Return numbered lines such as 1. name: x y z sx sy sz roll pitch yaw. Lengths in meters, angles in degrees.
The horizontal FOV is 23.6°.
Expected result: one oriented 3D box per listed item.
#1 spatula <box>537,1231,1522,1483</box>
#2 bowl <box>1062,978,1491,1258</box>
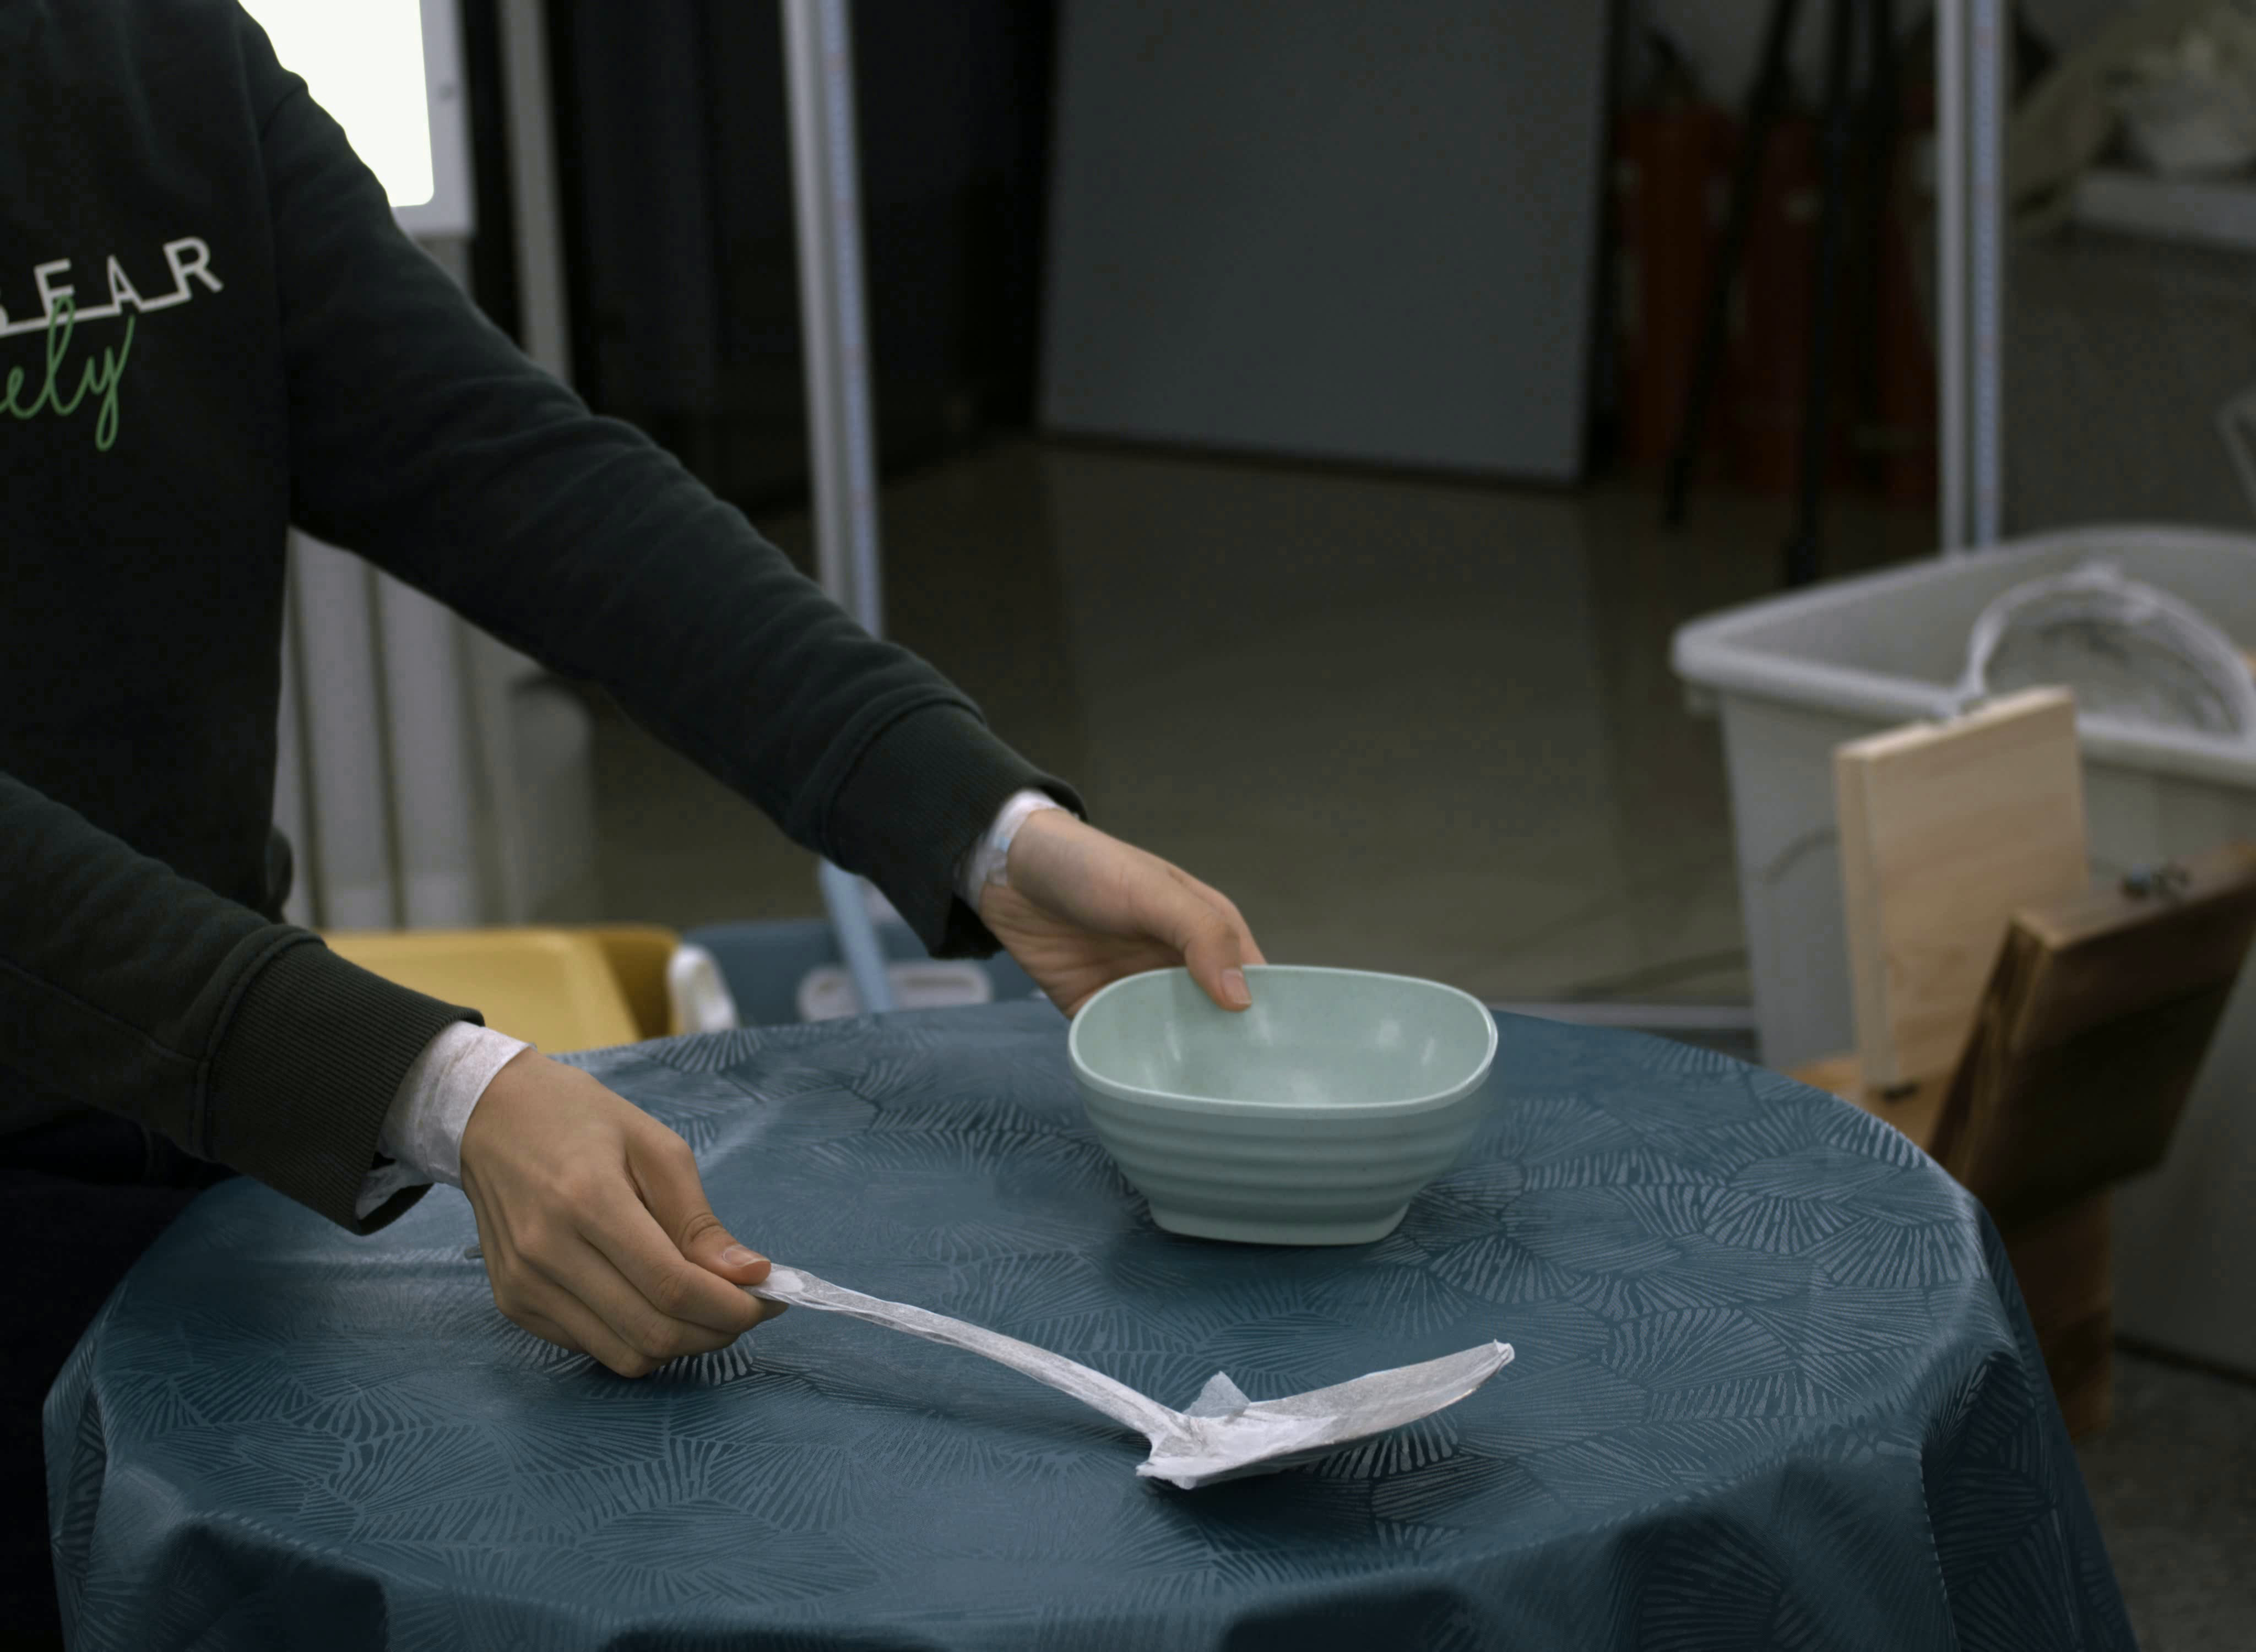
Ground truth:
1. spatula: -0.049 0.144 1.585 0.367 0.045 0.097 12 22 37
2. bowl: 0.047 0.097 1.734 0.149 0.059 0.152 0 15 -1
